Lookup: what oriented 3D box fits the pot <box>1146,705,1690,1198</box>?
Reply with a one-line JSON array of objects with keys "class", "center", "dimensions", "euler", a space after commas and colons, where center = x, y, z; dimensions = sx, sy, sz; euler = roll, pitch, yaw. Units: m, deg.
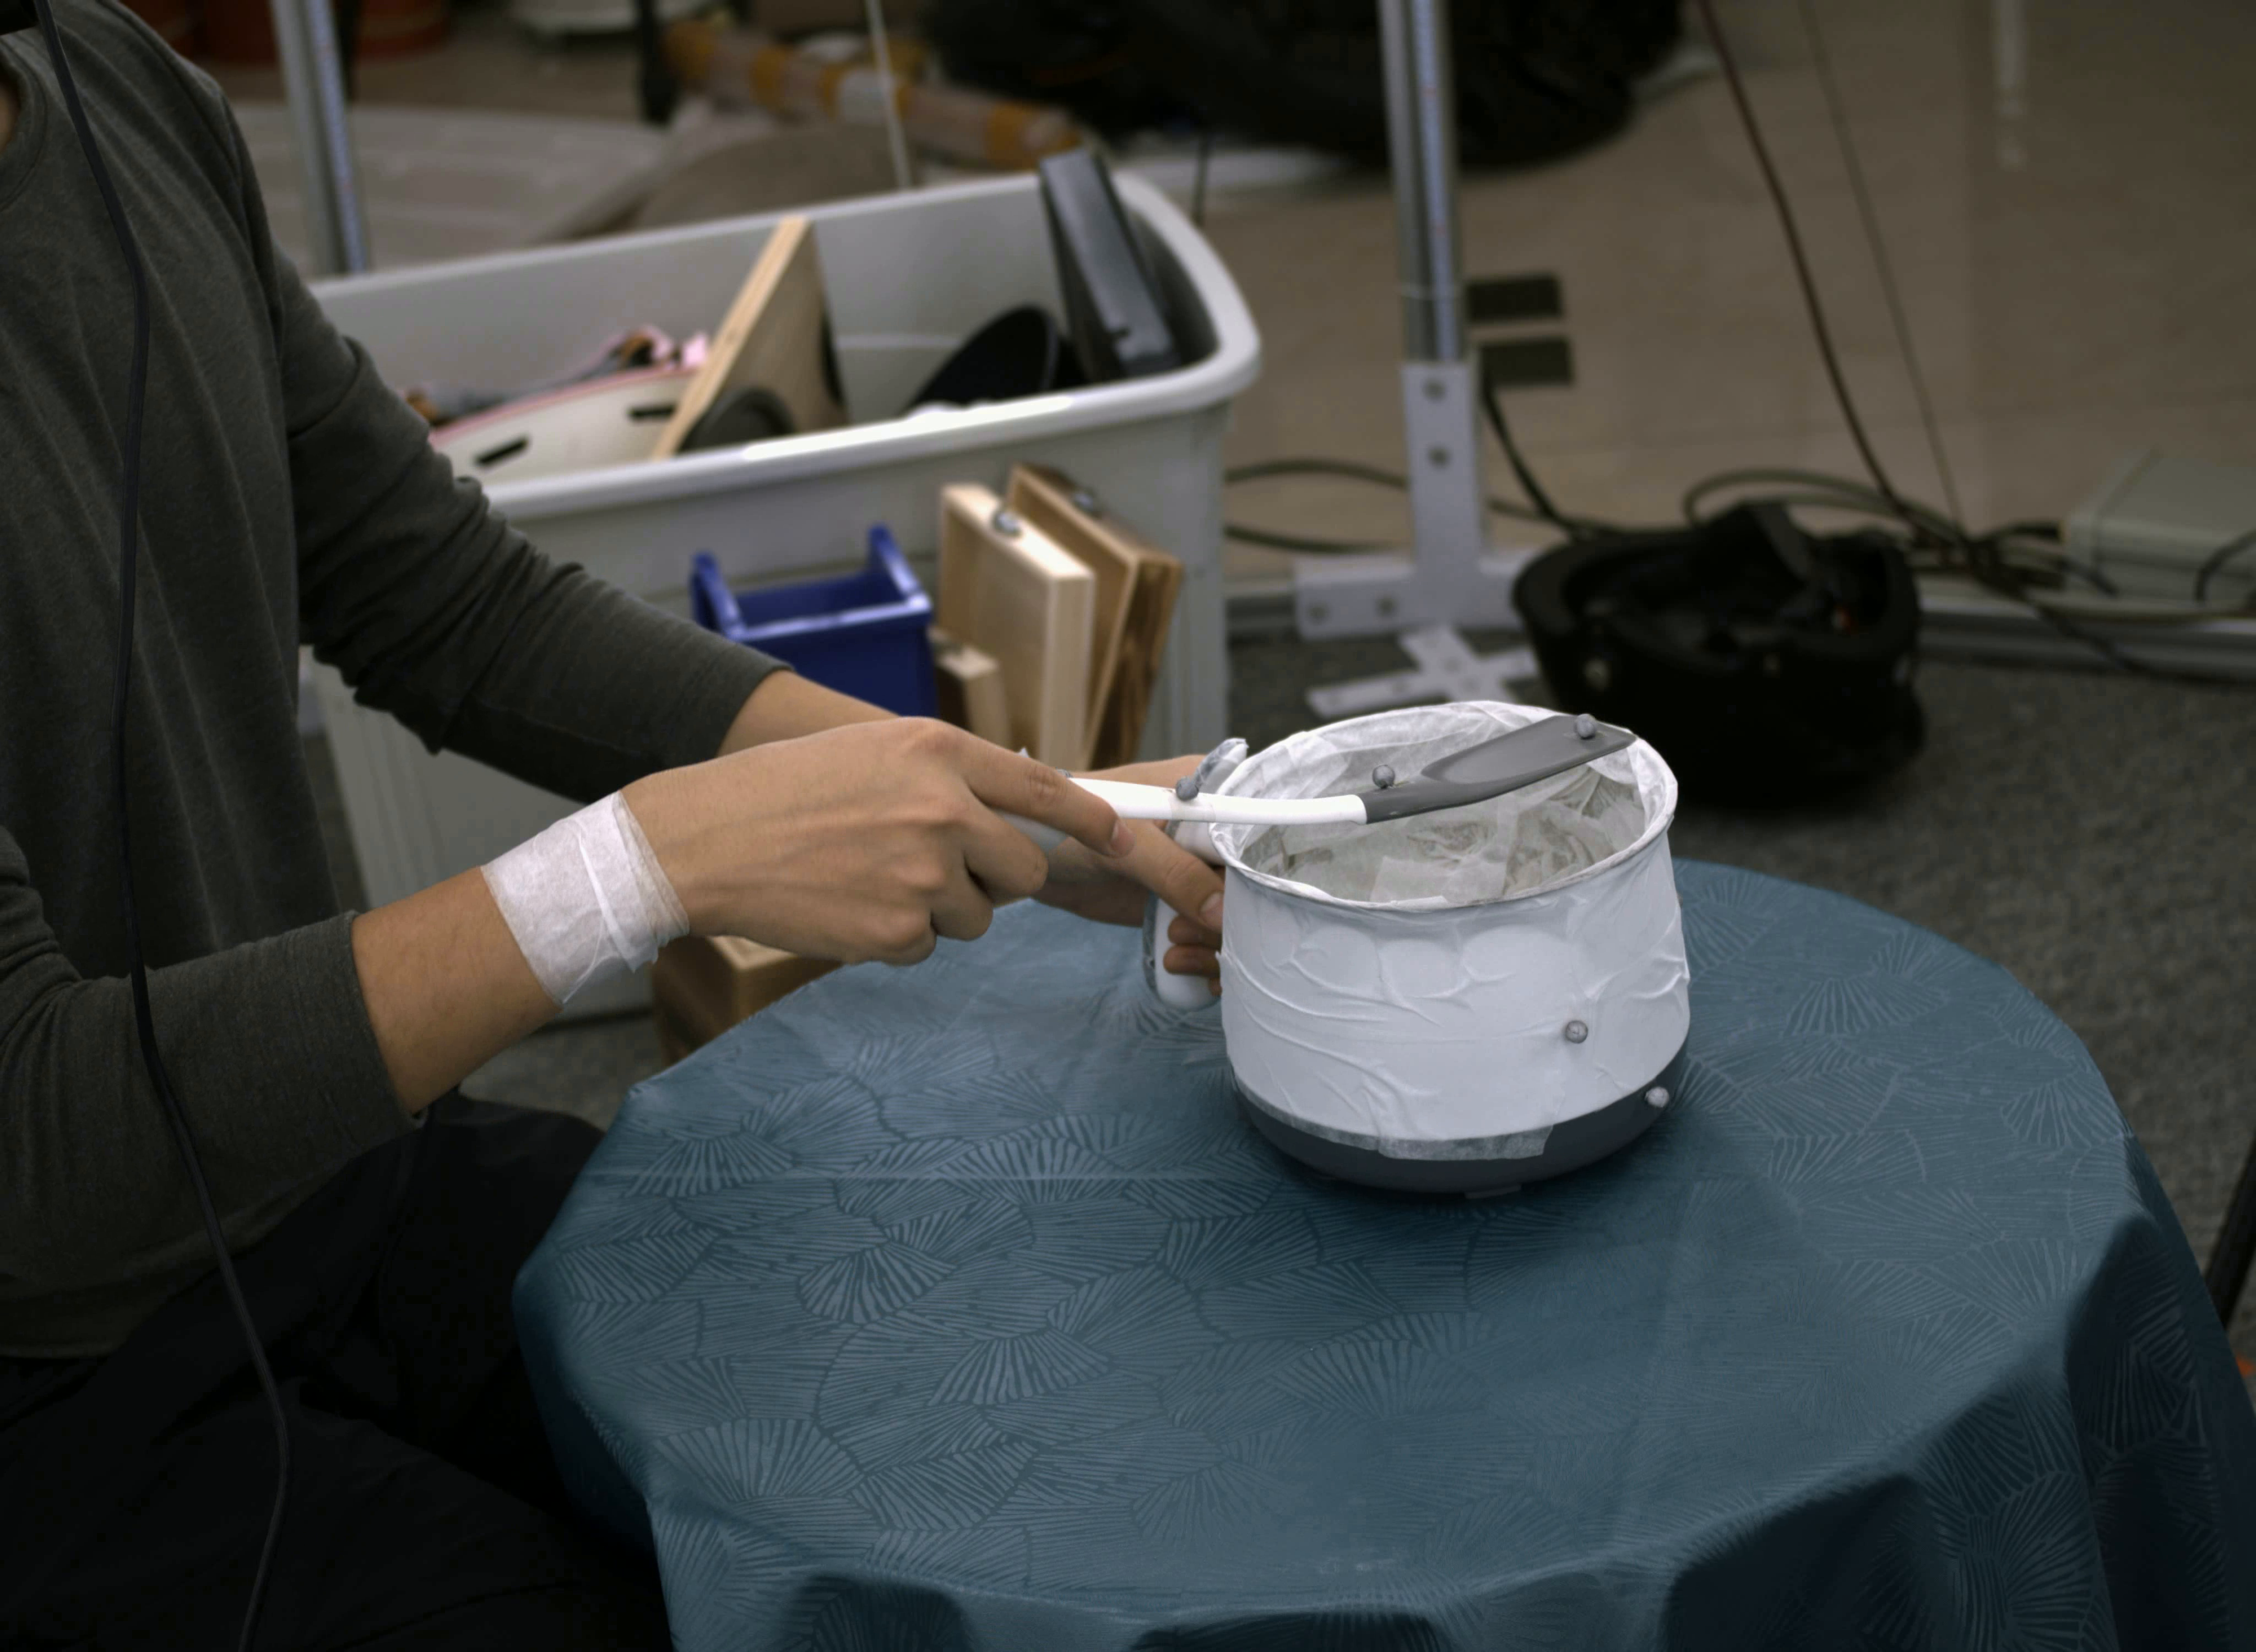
[{"class": "pot", "center": [0.101, 0.043, 2.166], "dimensions": [0.232, 0.139, 0.177], "euler": [14, 32, 35]}]

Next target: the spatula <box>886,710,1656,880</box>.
[{"class": "spatula", "center": [0.052, -0.013, 1.994], "dimensions": [0.287, 0.032, 0.058], "euler": [-7, 12, -25]}]
